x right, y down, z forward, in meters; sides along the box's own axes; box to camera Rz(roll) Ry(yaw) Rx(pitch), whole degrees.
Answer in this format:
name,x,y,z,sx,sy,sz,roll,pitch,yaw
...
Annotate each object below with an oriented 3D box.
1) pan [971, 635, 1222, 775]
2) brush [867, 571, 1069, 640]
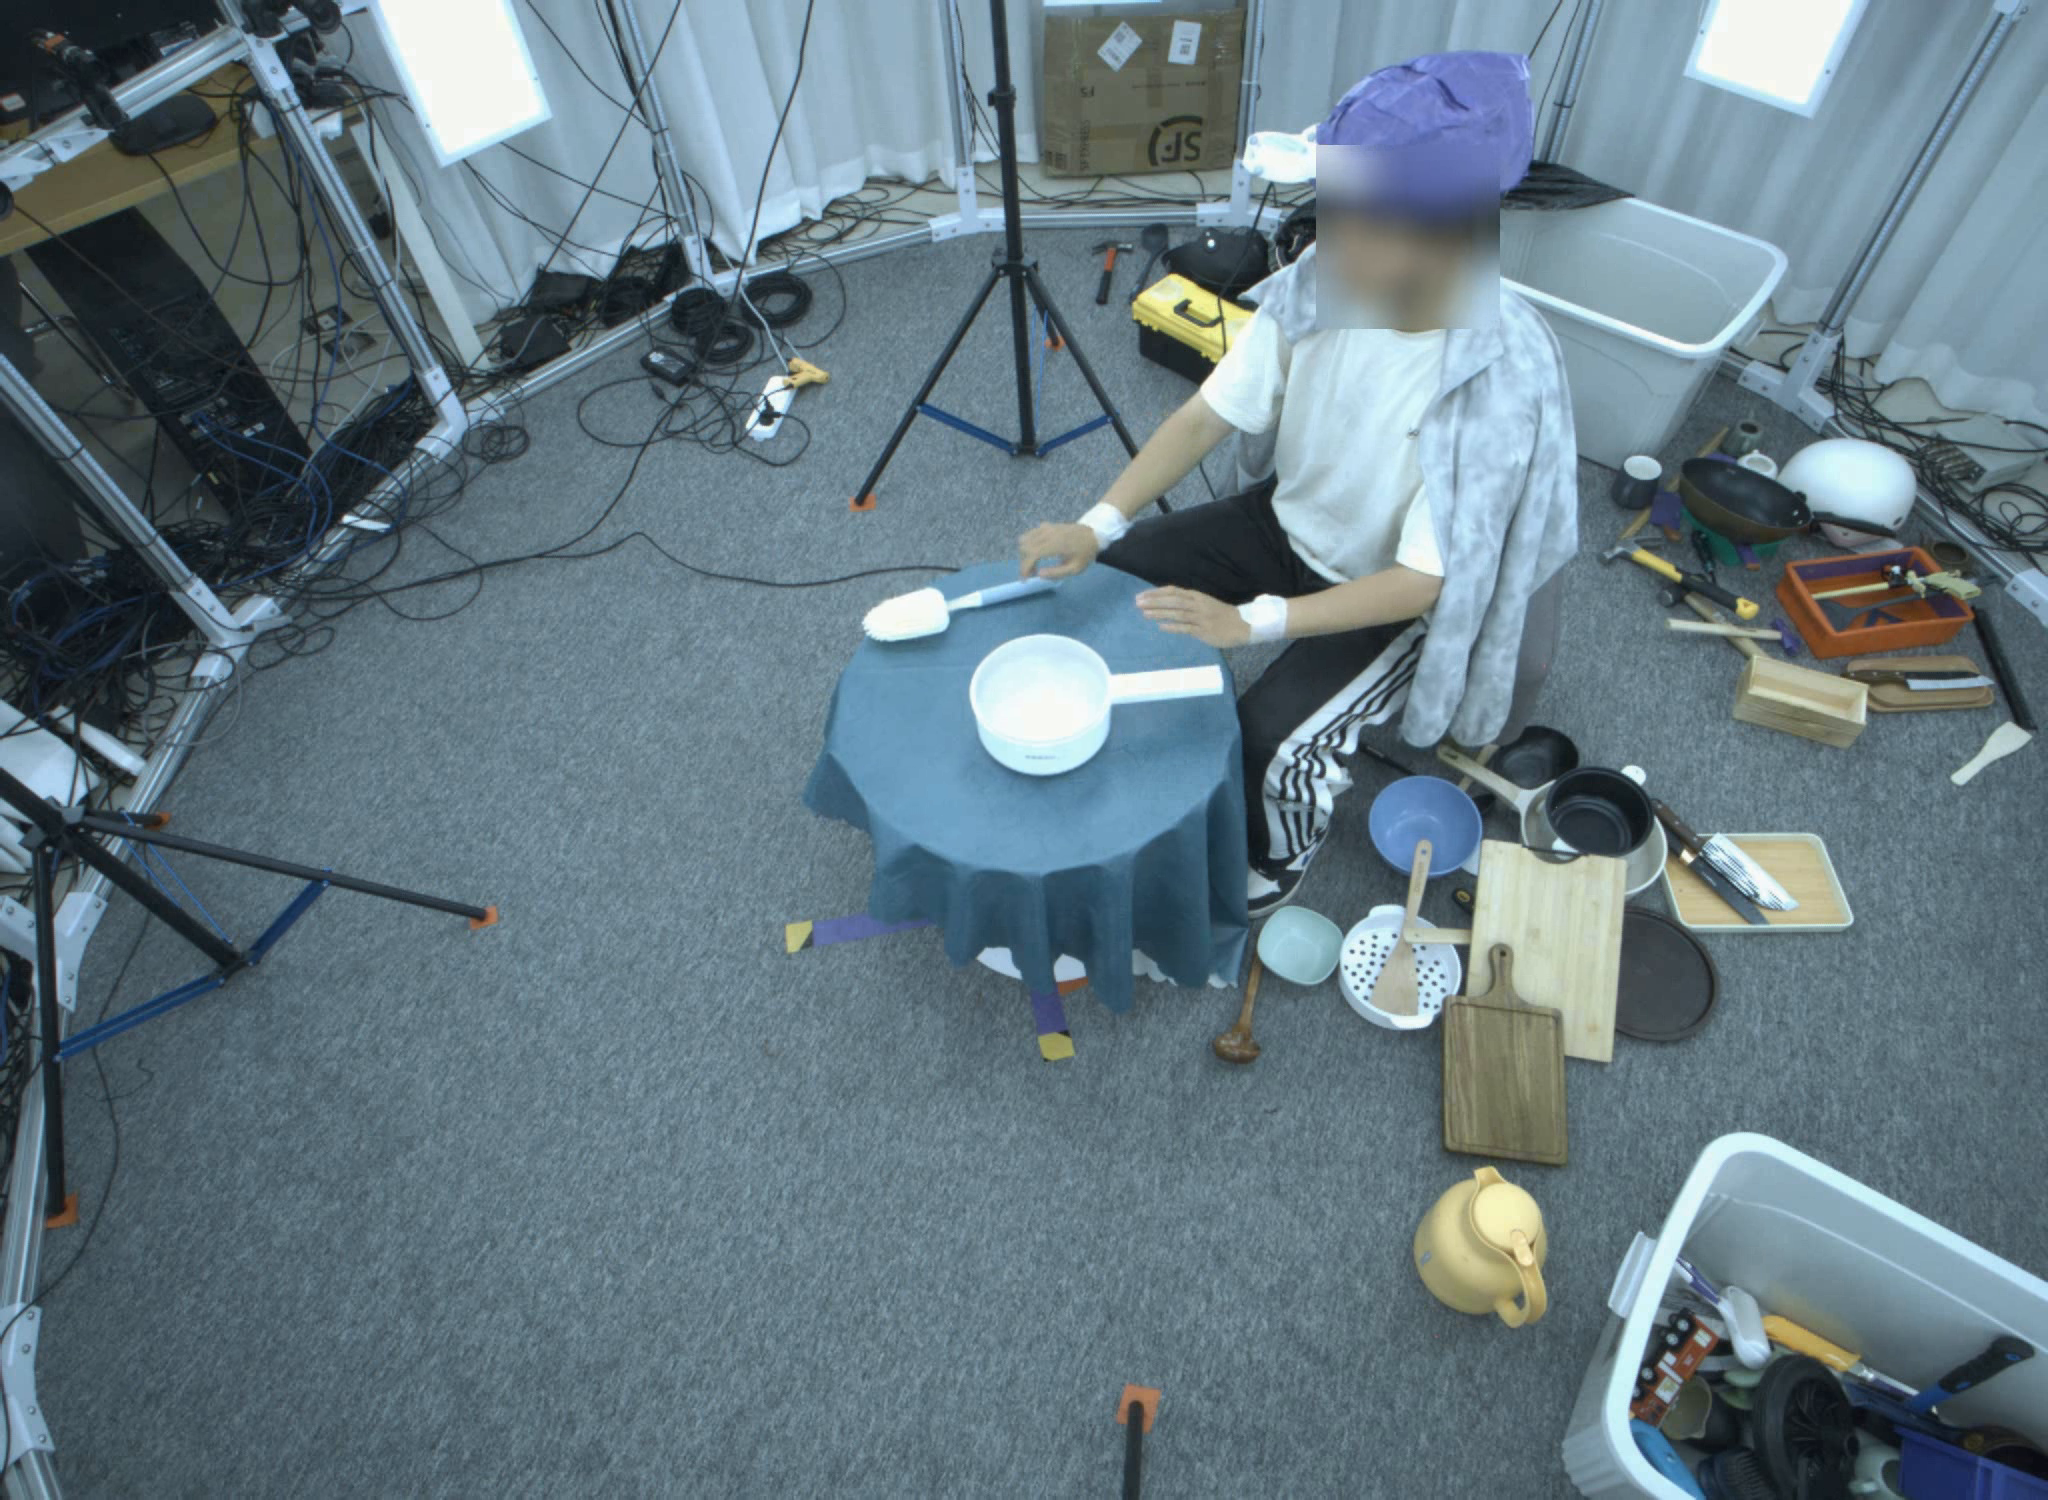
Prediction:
name,x,y,z,sx,sy,sz,roll,pitch,yaw
pan,0.104,-0.066,1.772,0.355,0.103,0.198,-5,54,-2
brush,-0.085,-0.235,1.907,0.327,0.084,0.083,-14,48,-6
